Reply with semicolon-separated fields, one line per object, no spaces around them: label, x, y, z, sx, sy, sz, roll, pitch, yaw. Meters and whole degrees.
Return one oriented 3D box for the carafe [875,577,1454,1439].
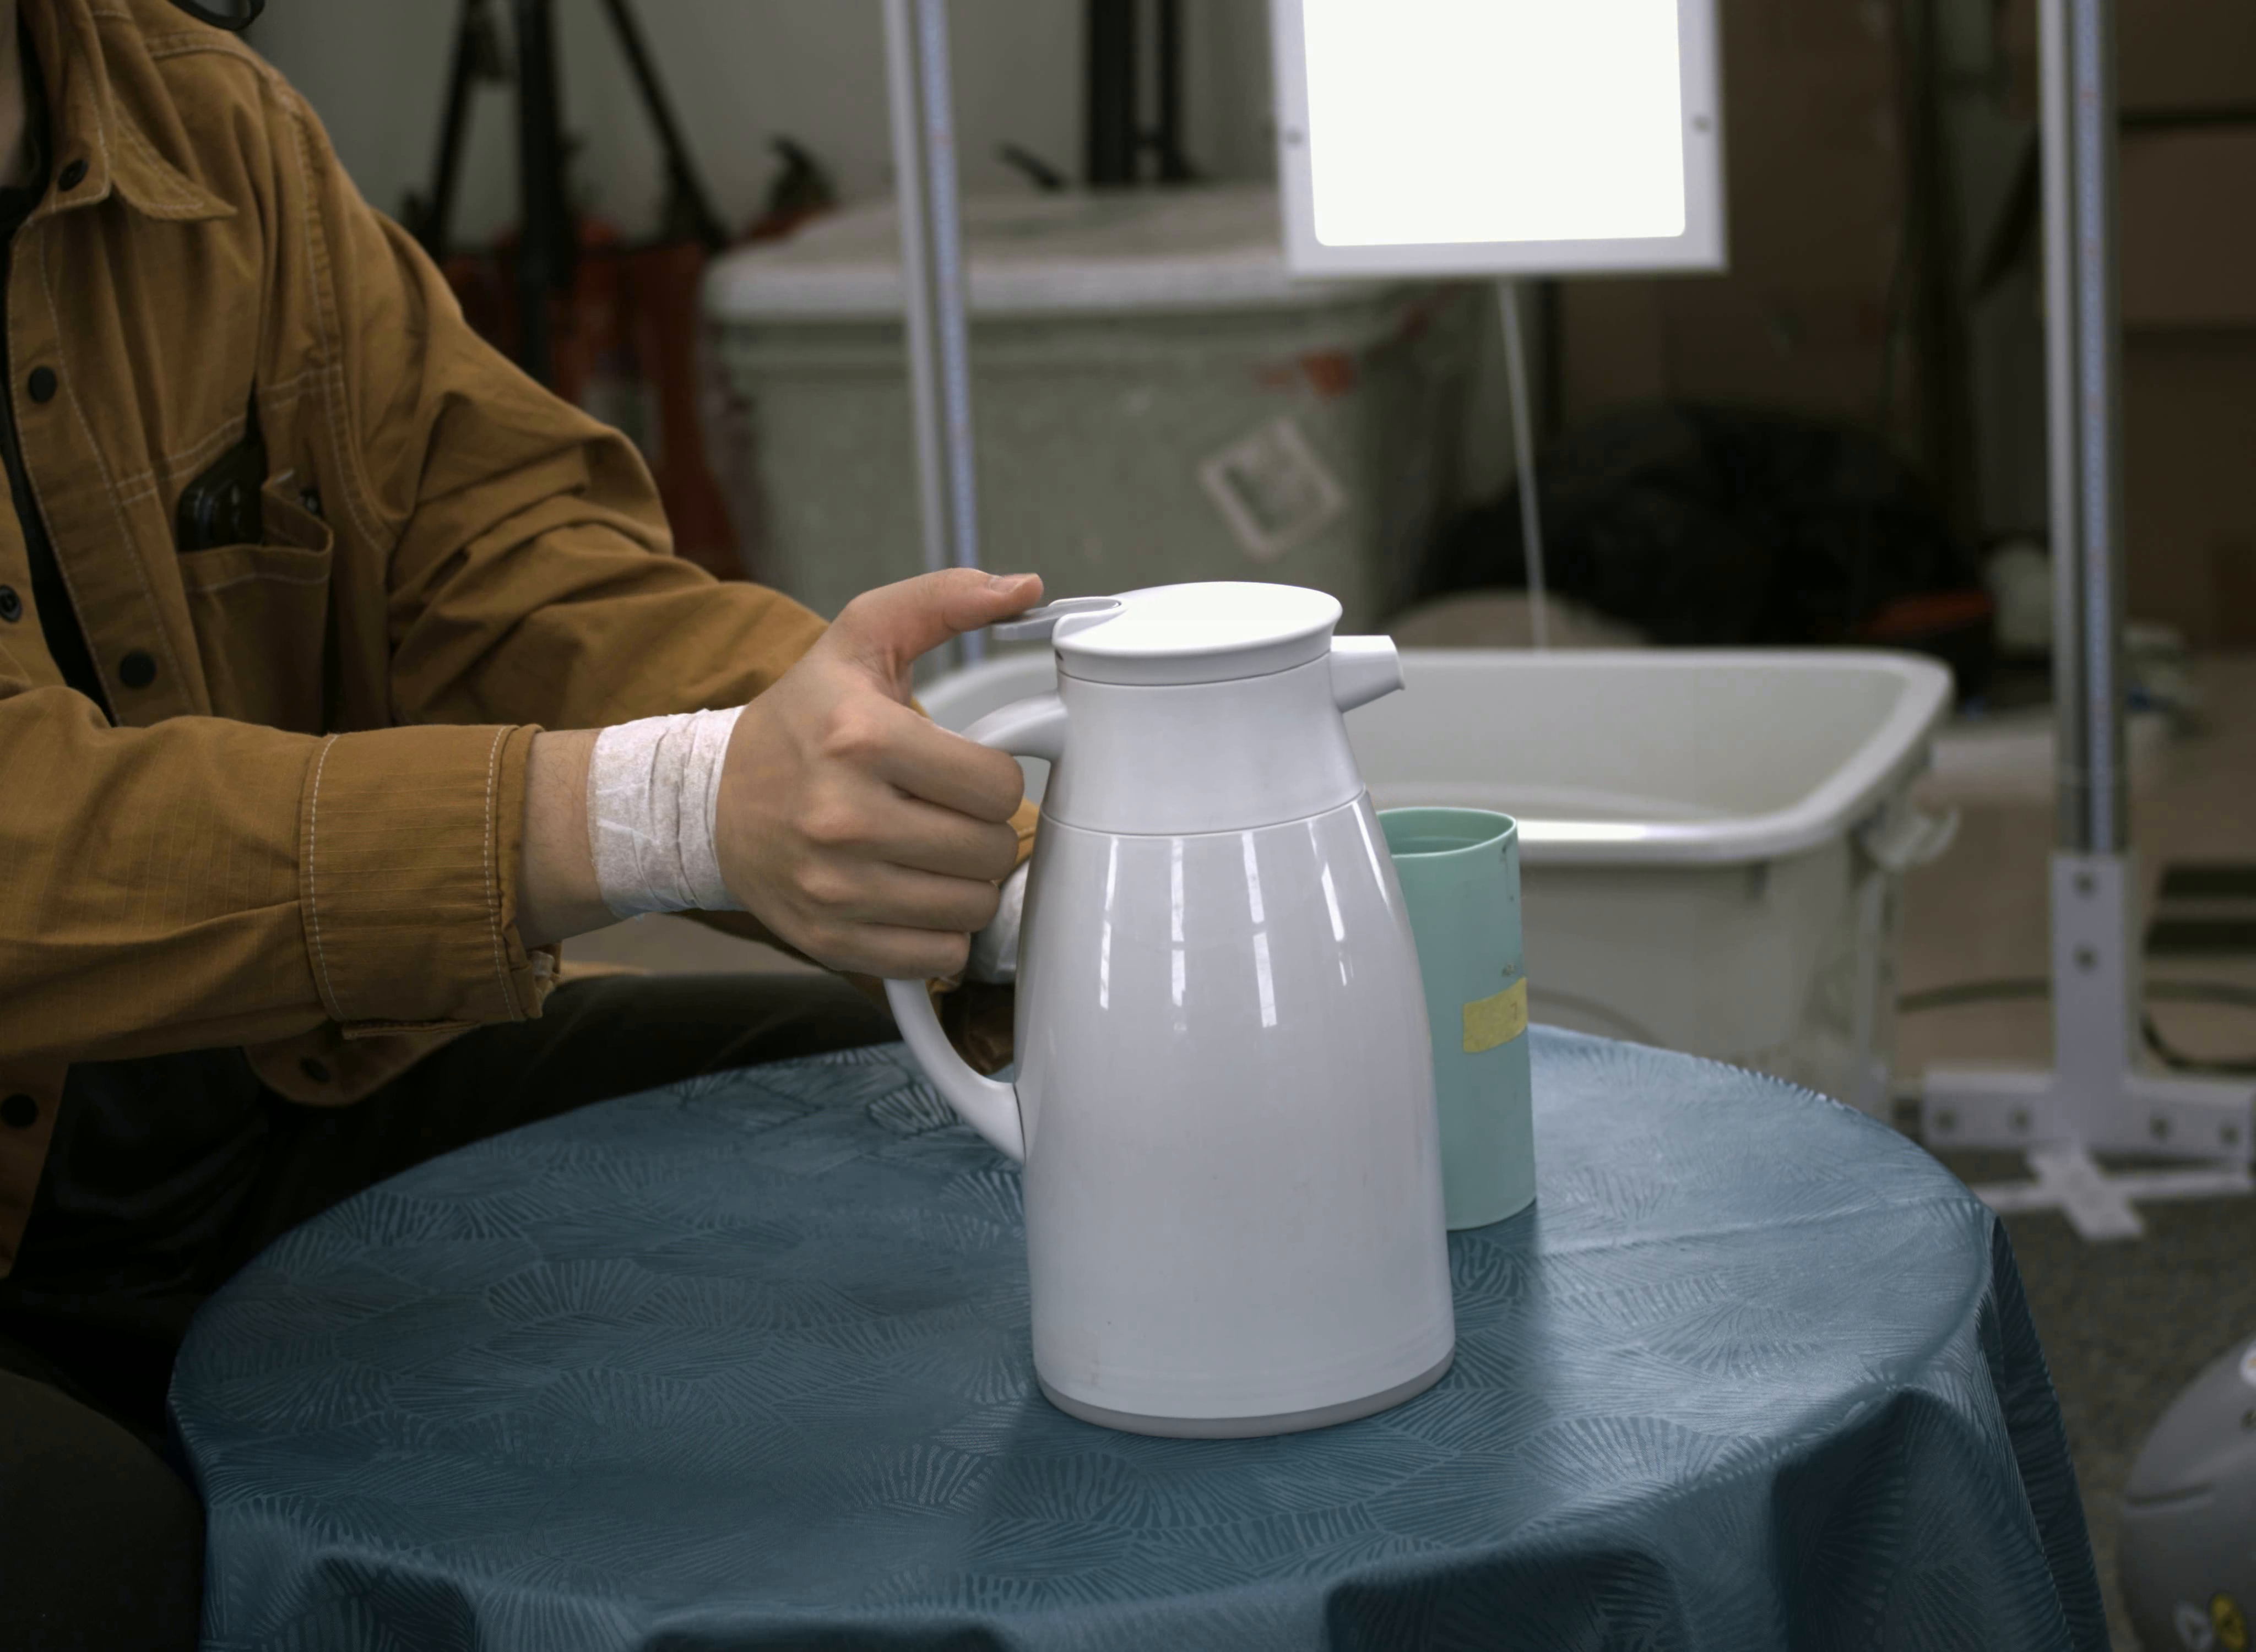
carafe;0.009;0.051;1.683;0.167;0.249;0.132;-6;14;-2

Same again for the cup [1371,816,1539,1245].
cup;0.102;0.067;1.842;0.066;0.133;0.066;-4;14;0
